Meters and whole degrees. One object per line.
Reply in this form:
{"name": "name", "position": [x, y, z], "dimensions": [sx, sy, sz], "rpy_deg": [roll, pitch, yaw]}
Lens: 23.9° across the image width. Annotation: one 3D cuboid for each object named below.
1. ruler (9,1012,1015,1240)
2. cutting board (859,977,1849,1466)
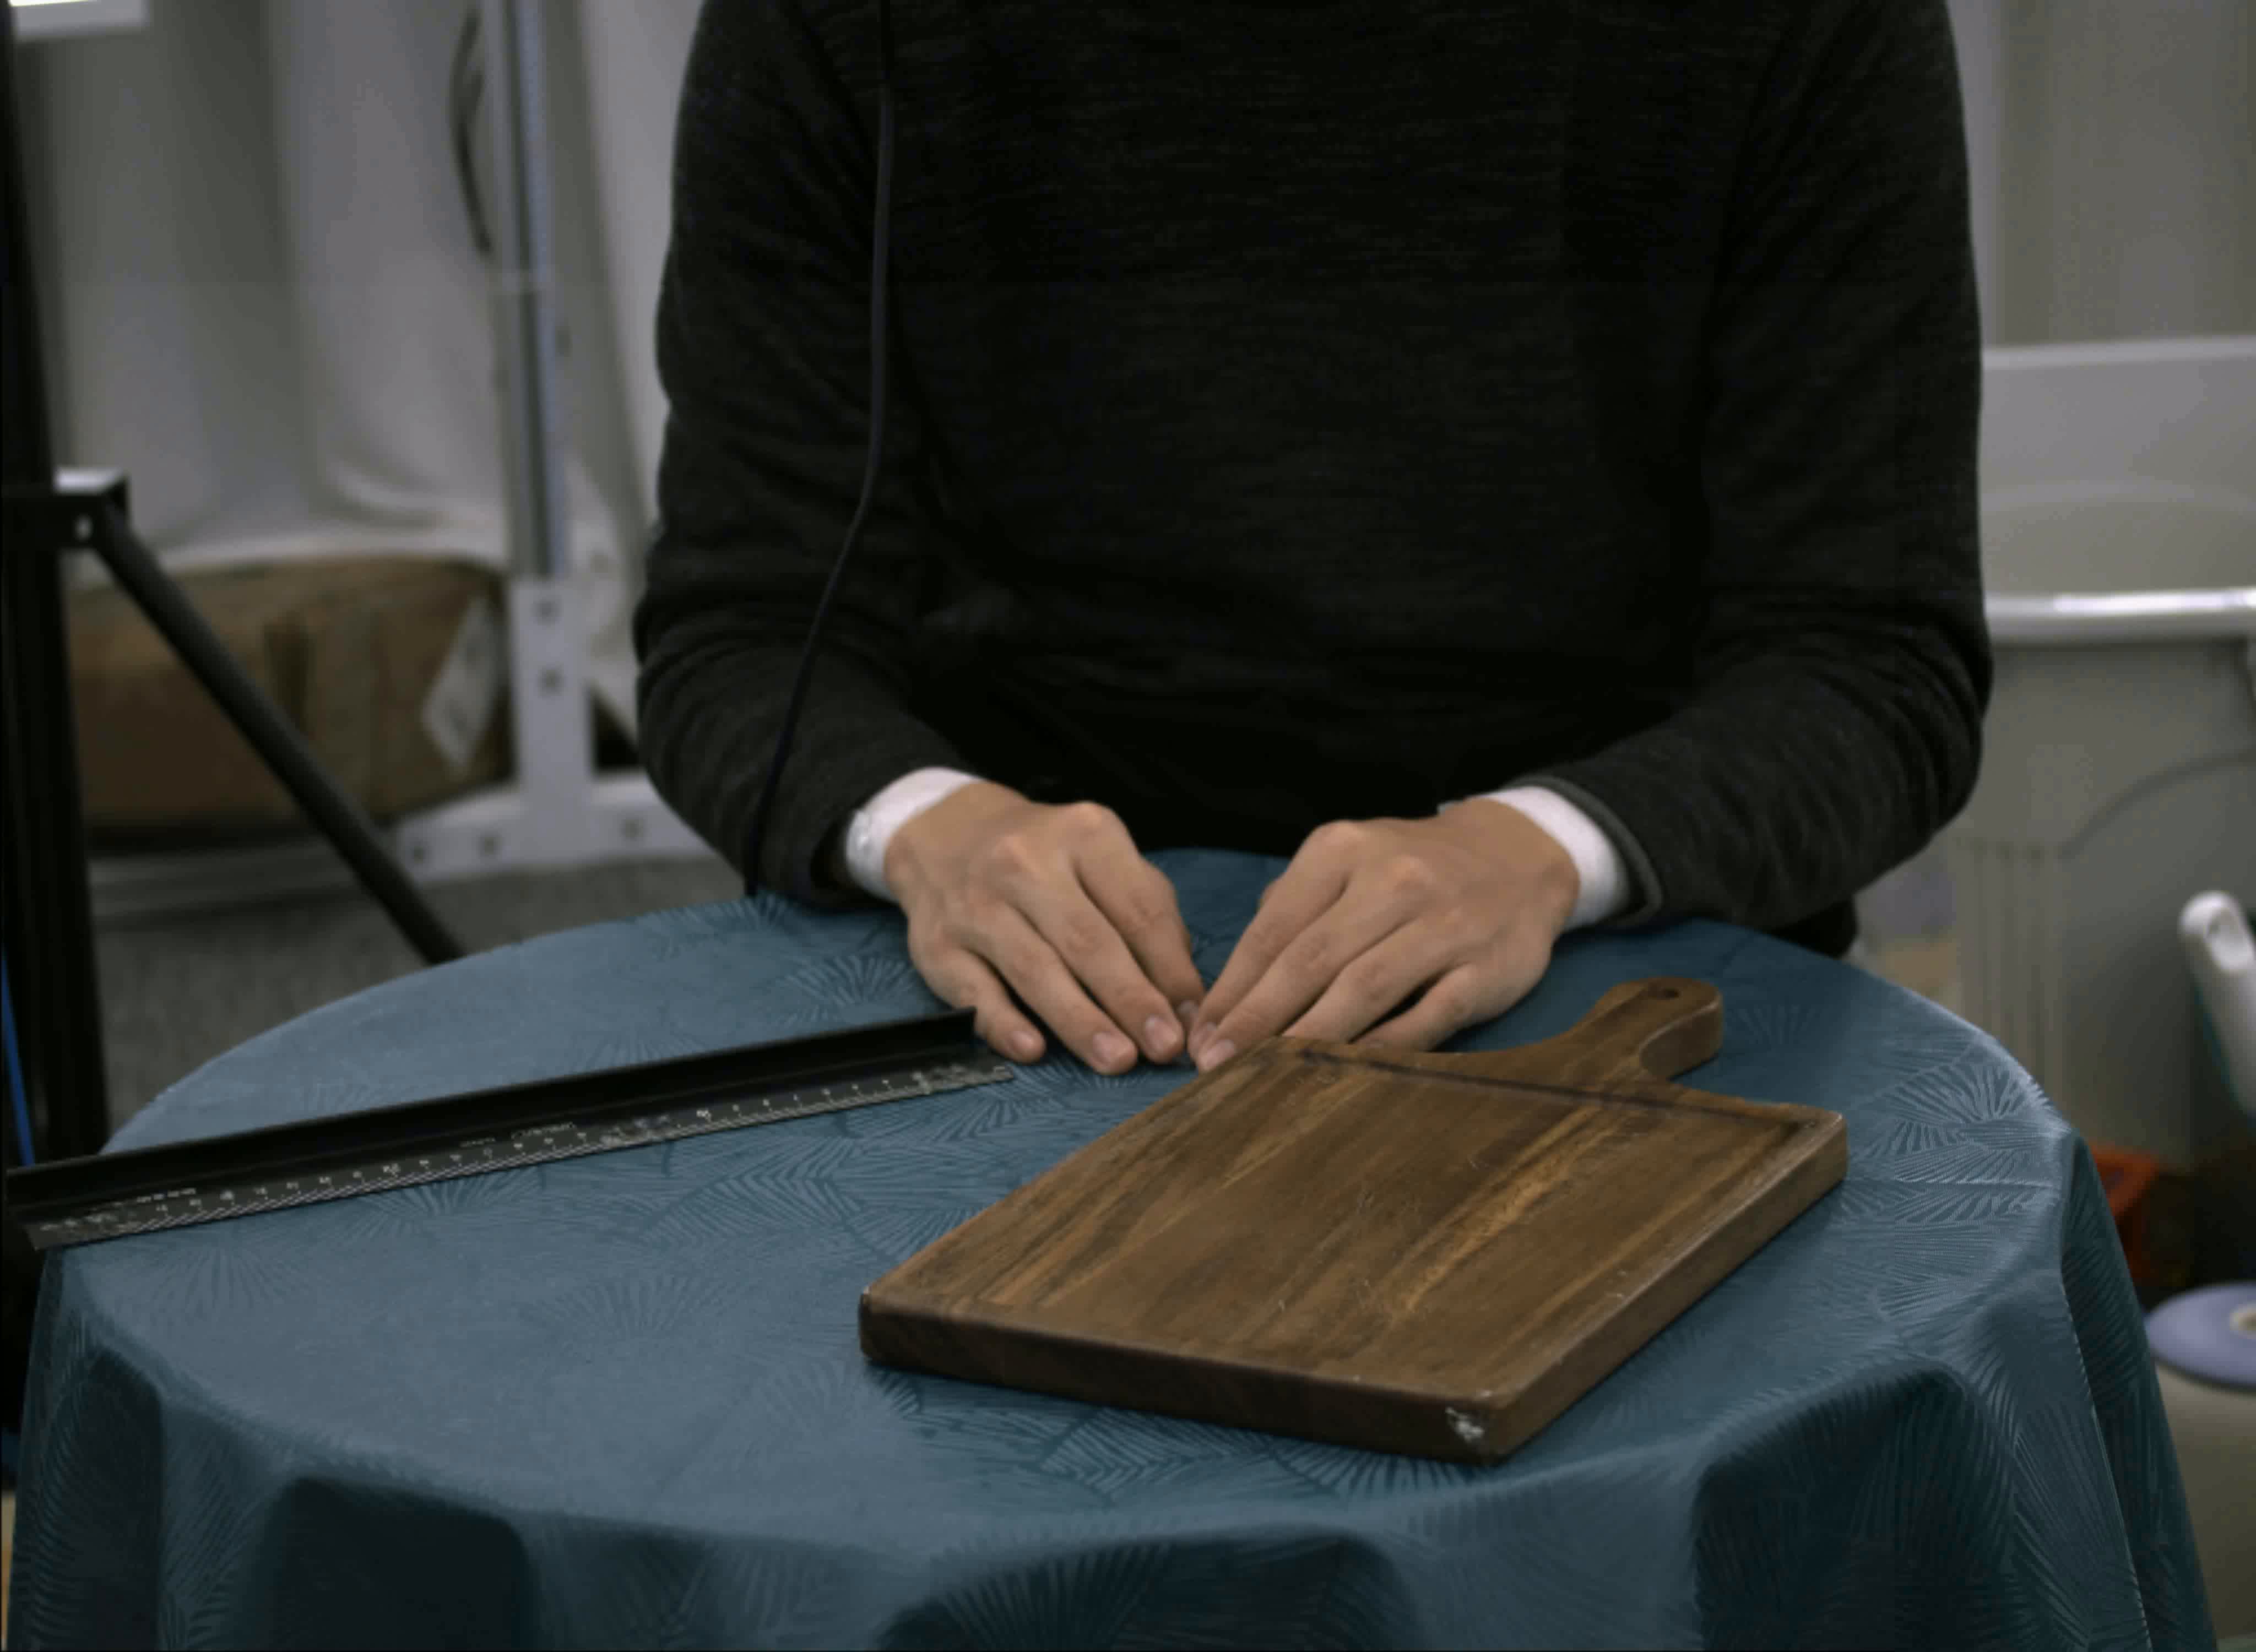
{"name": "ruler", "position": [-0.183, 0.090, 1.622], "dimensions": [0.306, 0.017, 0.040], "rpy_deg": [-8, 19, -21]}
{"name": "cutting board", "position": [0.092, 0.102, 1.526], "dimensions": [0.204, 0.023, 0.346], "rpy_deg": [6, 18, 28]}
